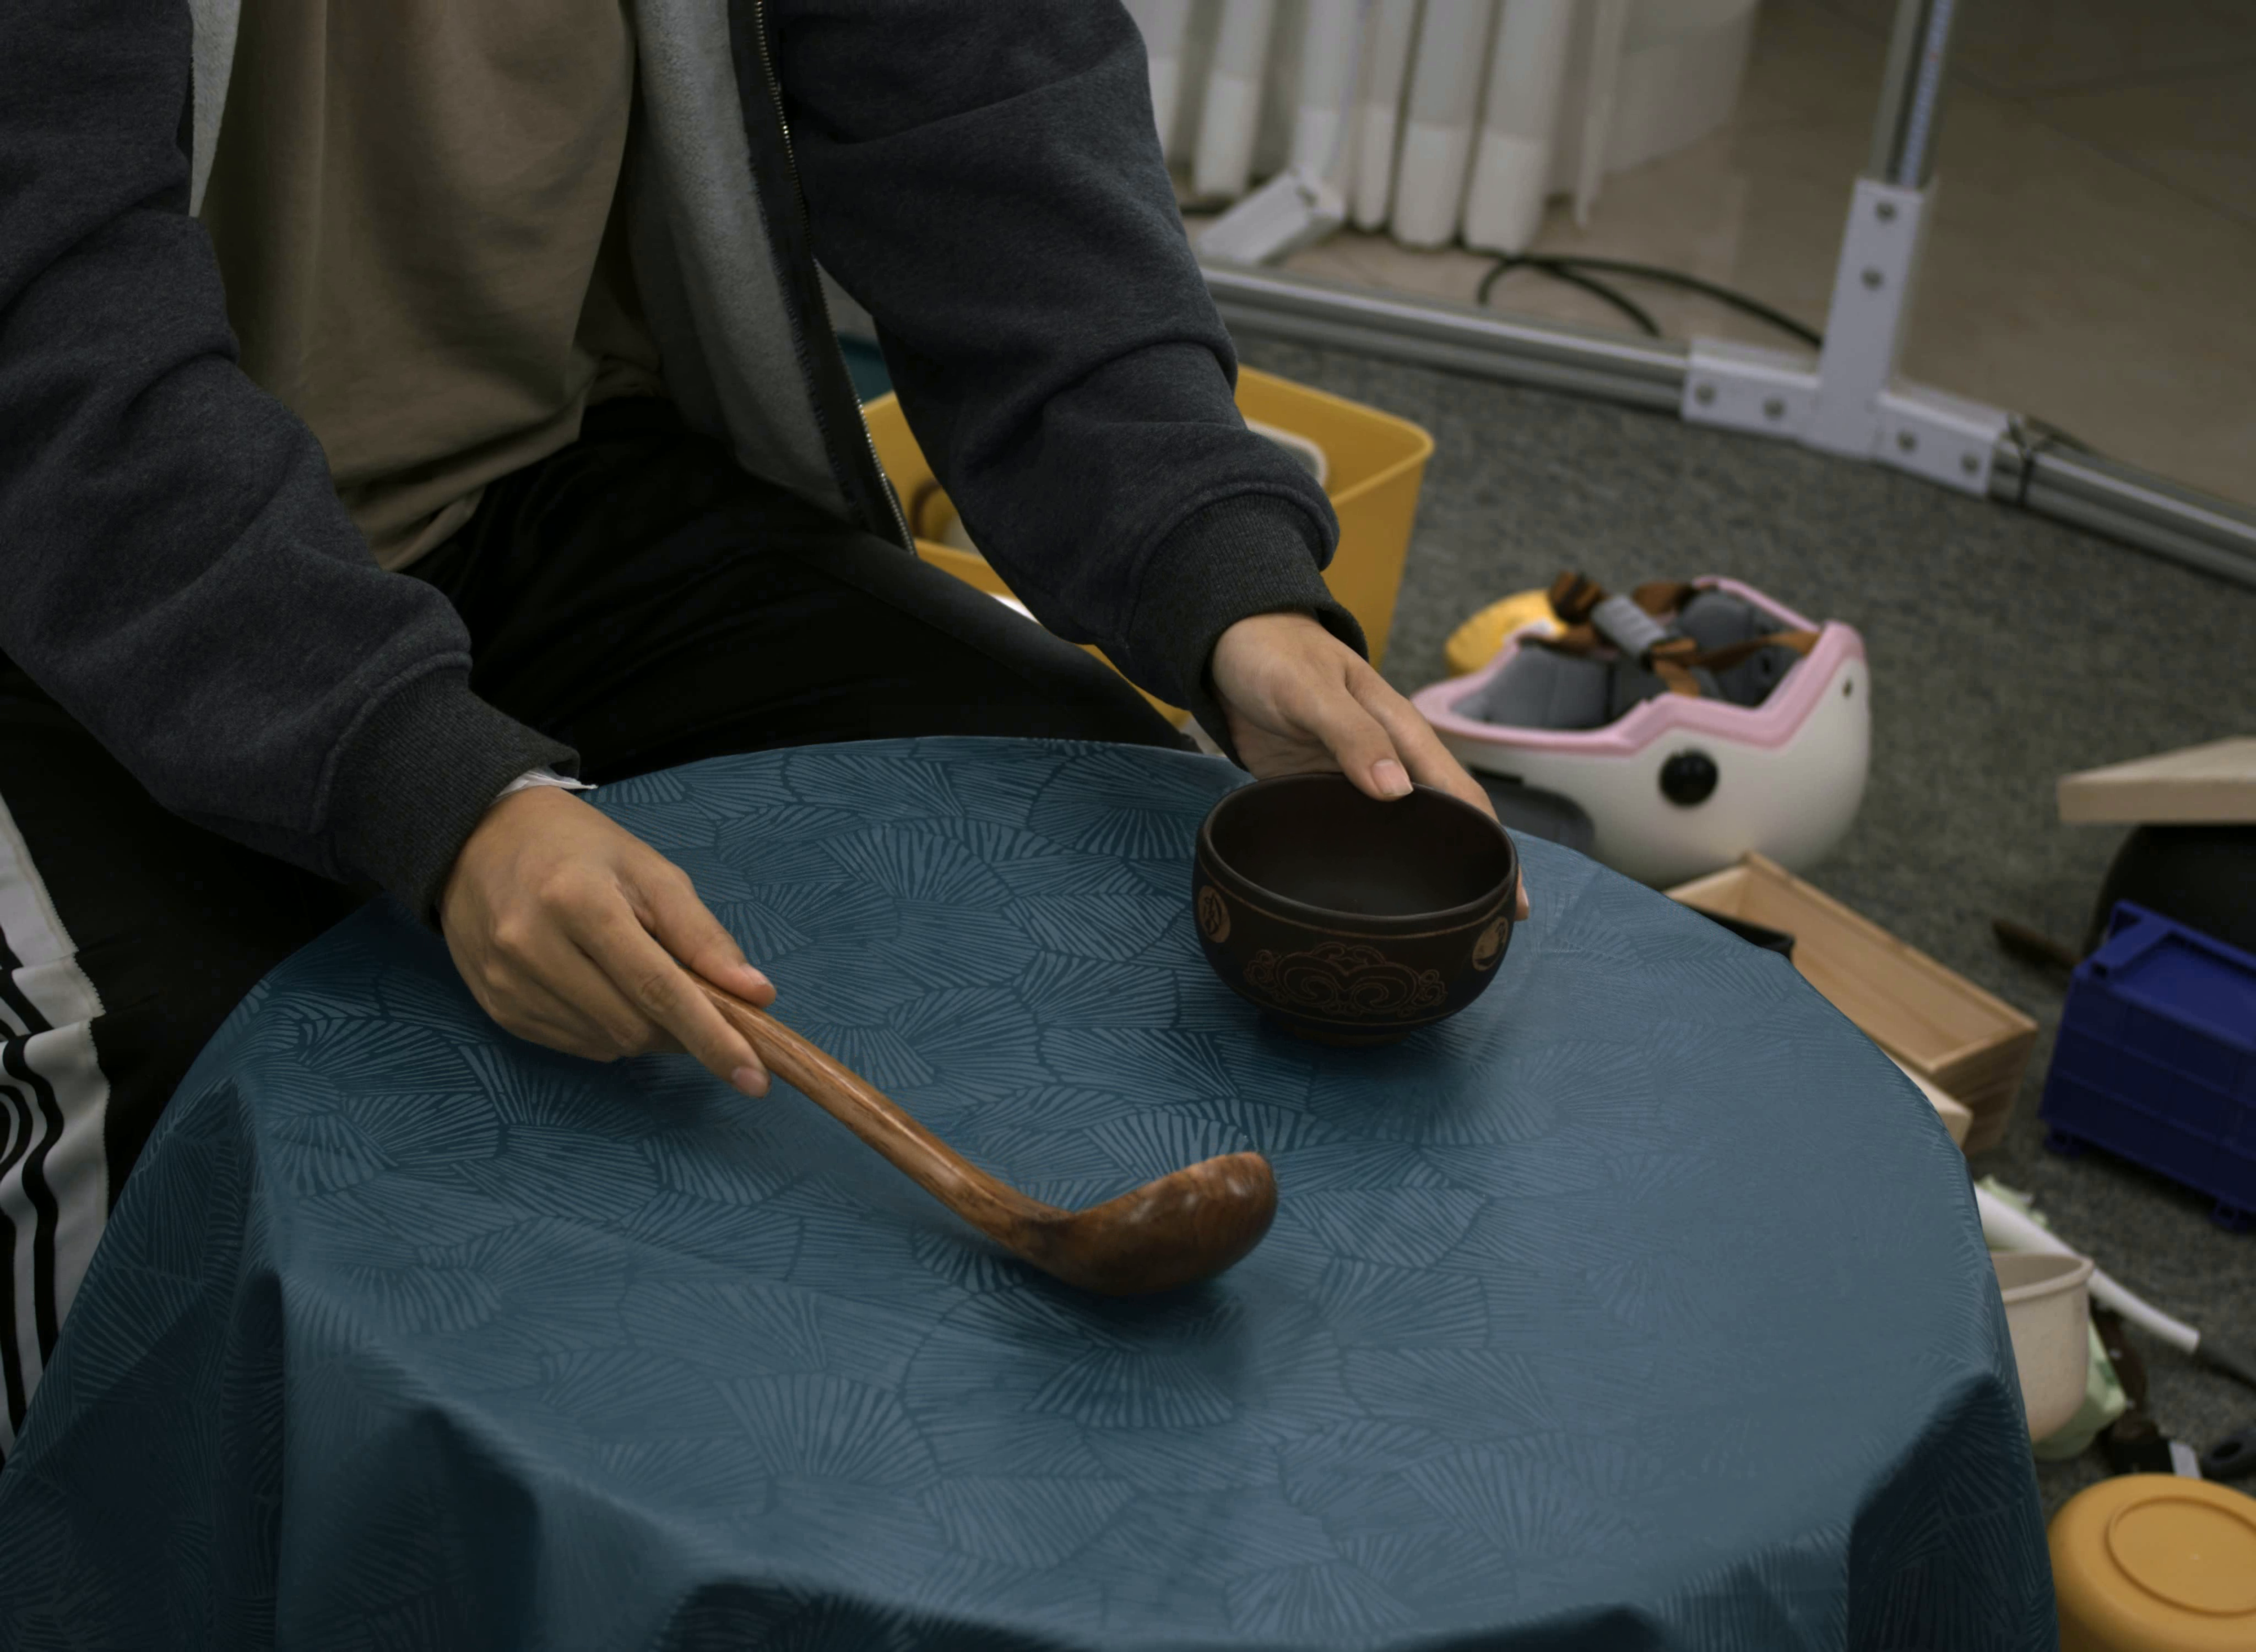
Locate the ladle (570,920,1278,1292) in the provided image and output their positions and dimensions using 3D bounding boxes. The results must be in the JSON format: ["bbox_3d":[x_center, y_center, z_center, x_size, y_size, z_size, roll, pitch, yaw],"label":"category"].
[{"bbox_3d":[-0.071,0.074,1.770,0.276,0.076,0.081,33,8,26],"label":"ladle"}]

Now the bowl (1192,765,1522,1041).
[{"bbox_3d":[0.081,0.034,1.911,0.117,0.069,0.119,3,27,-2],"label":"bowl"}]
